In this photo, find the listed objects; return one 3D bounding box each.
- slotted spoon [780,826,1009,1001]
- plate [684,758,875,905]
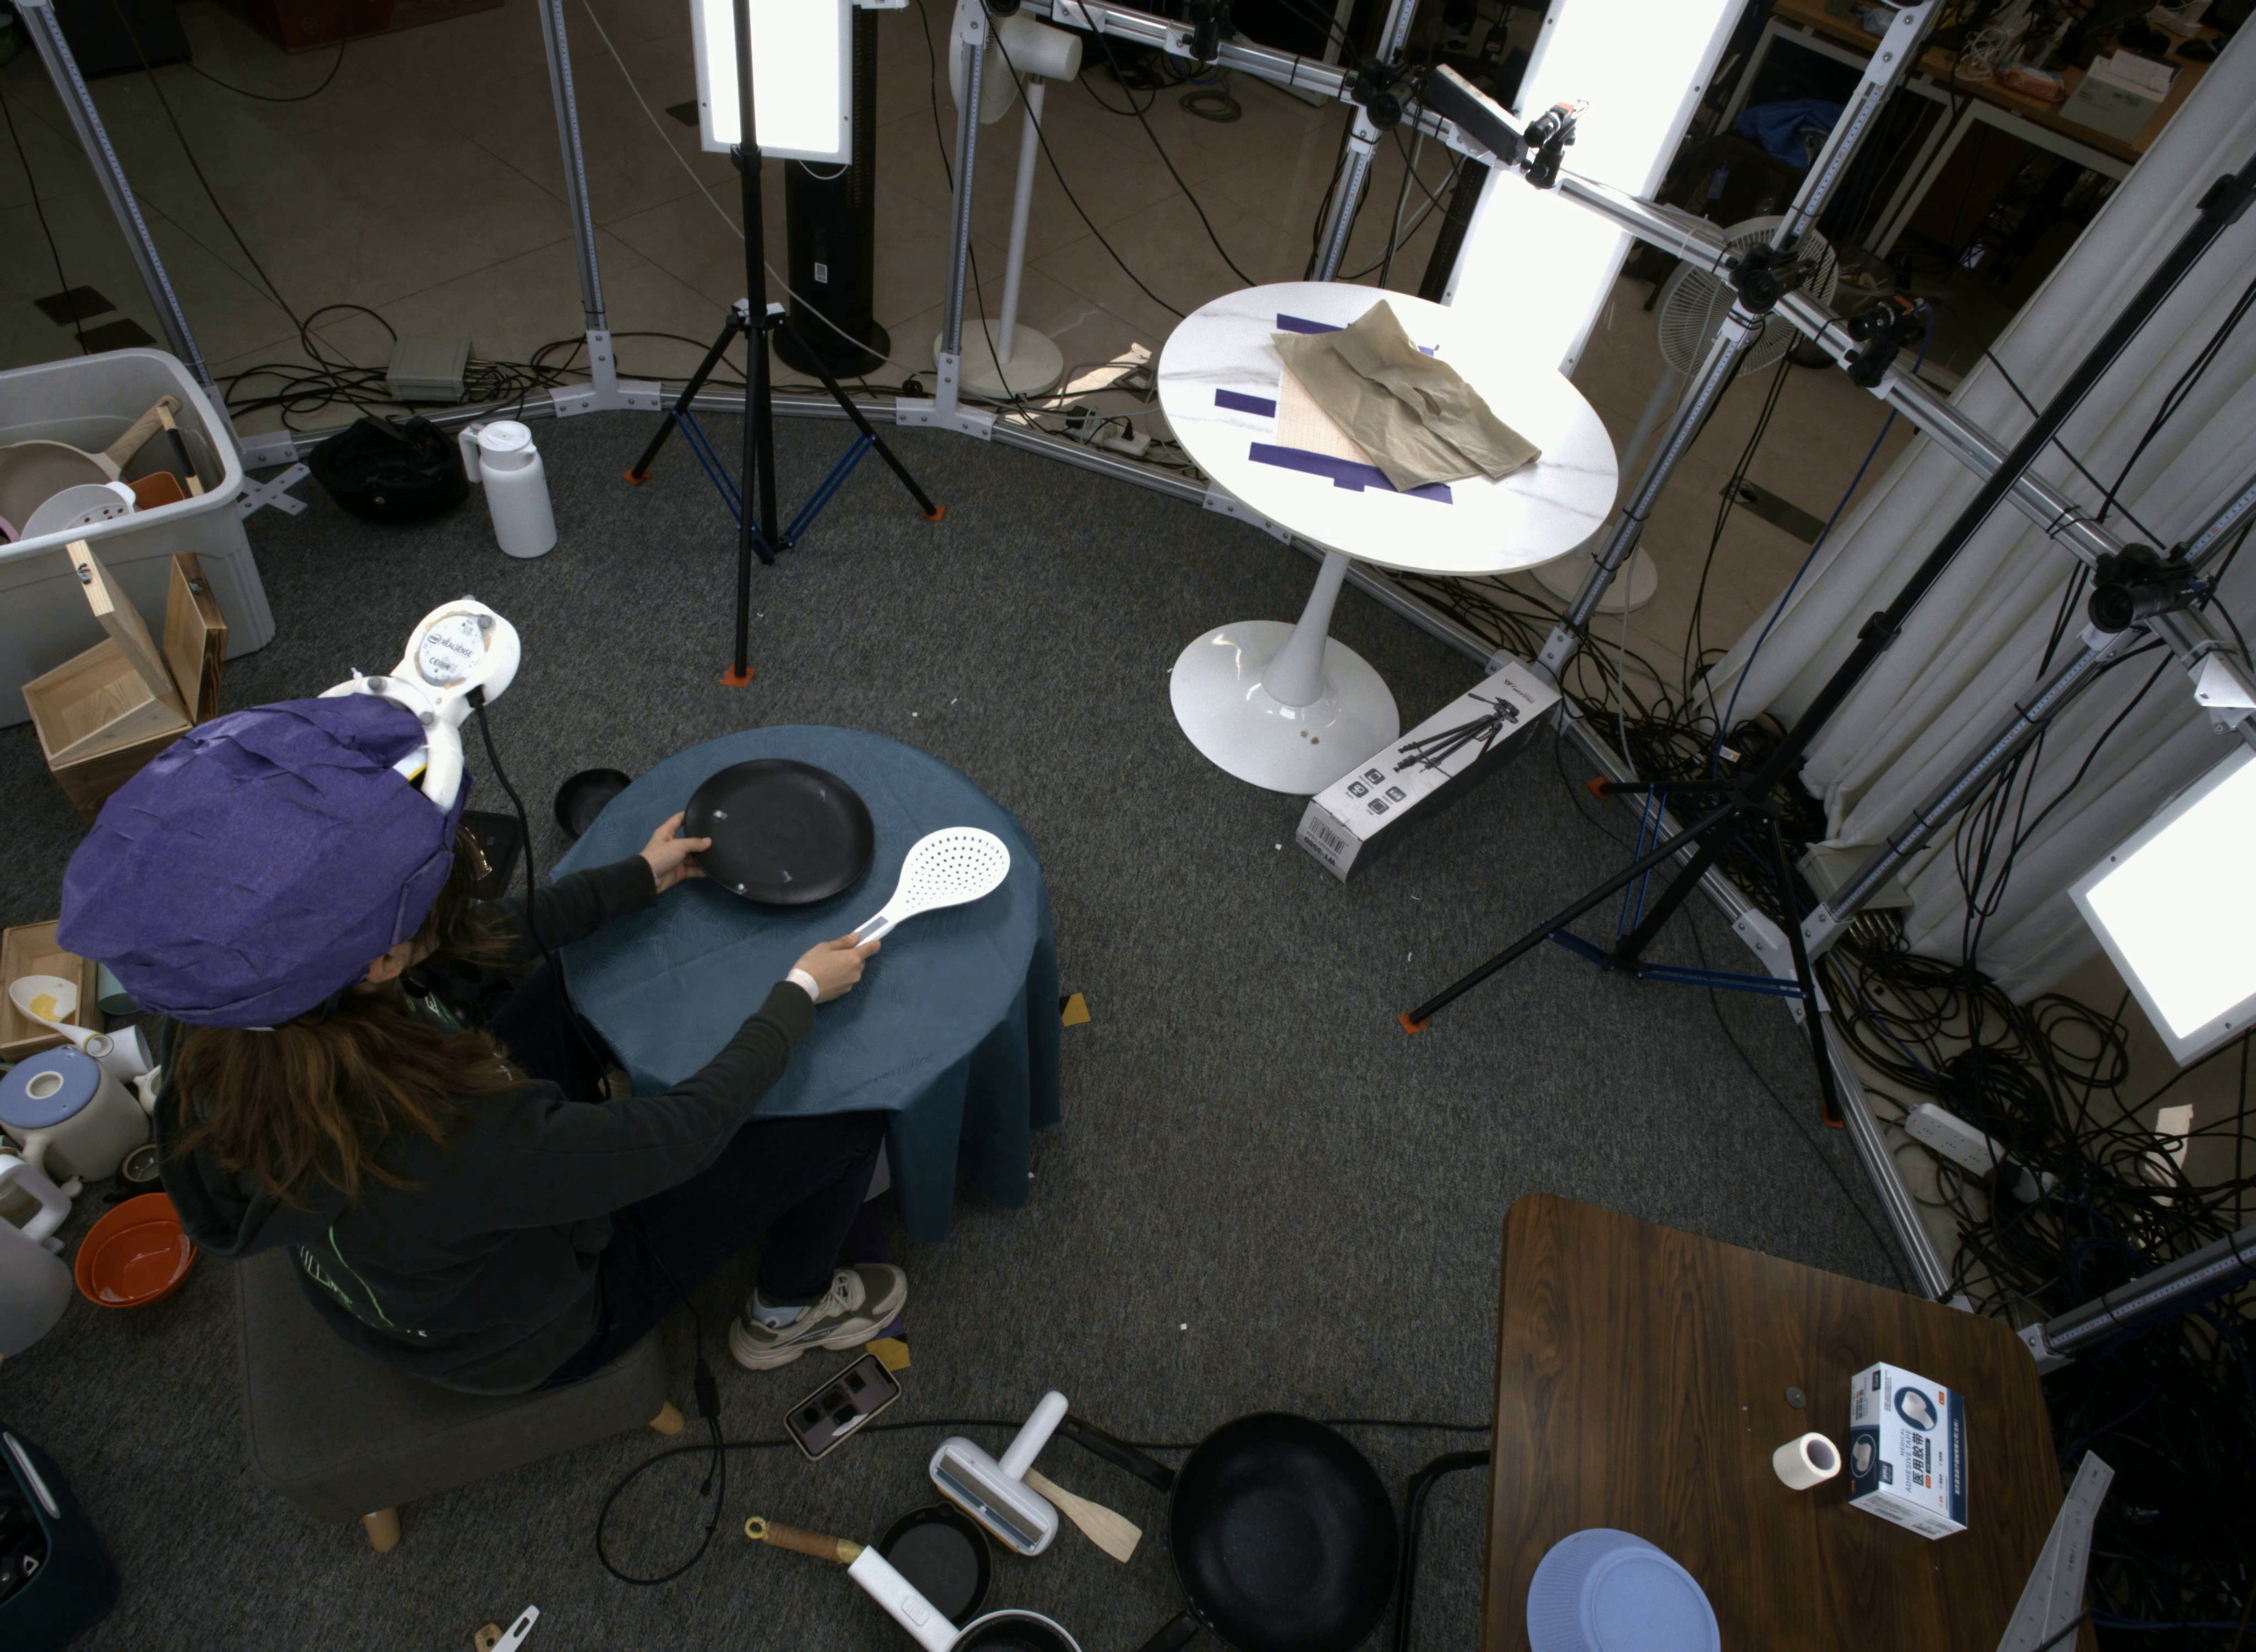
[{"bbox_3d":[-0.293,0.108,1.639,0.131,0.047,0.351,31,47,28],"label":"slotted spoon"},{"bbox_3d":[-0.453,0.008,1.685,0.245,0.024,0.240,13,48,-13],"label":"plate"}]
